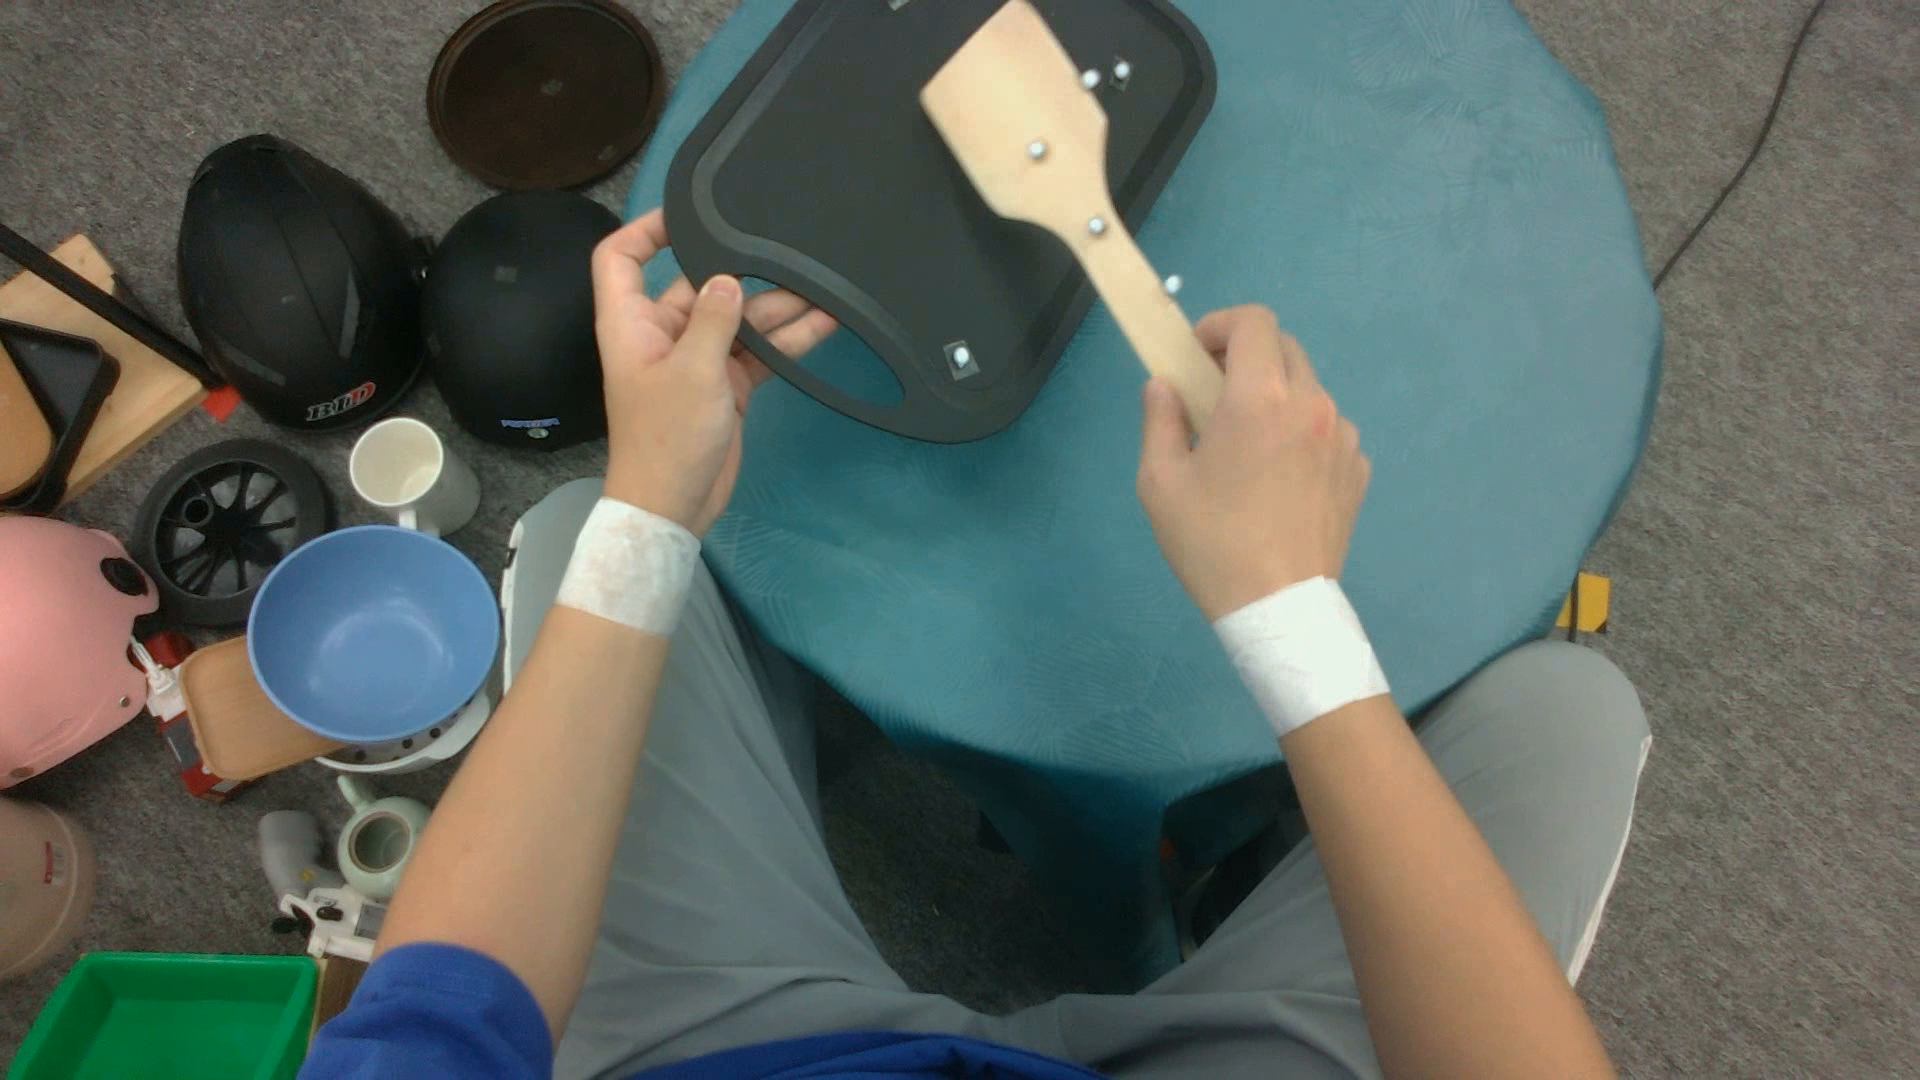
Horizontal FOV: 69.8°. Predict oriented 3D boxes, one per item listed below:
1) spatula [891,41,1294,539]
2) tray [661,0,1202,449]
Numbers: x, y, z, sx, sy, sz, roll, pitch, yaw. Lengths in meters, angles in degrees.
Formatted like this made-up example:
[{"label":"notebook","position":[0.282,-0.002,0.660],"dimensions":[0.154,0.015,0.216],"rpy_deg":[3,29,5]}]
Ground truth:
[{"label":"spatula","position":[0.066,-0.121,0.662],"dimensions":[0.072,0.010,0.293],"rpy_deg":[-39,71,14]},{"label":"tray","position":[-0.006,-0.203,0.725],"dimensions":[0.211,0.010,0.326],"rpy_deg":[35,67,-9]}]
